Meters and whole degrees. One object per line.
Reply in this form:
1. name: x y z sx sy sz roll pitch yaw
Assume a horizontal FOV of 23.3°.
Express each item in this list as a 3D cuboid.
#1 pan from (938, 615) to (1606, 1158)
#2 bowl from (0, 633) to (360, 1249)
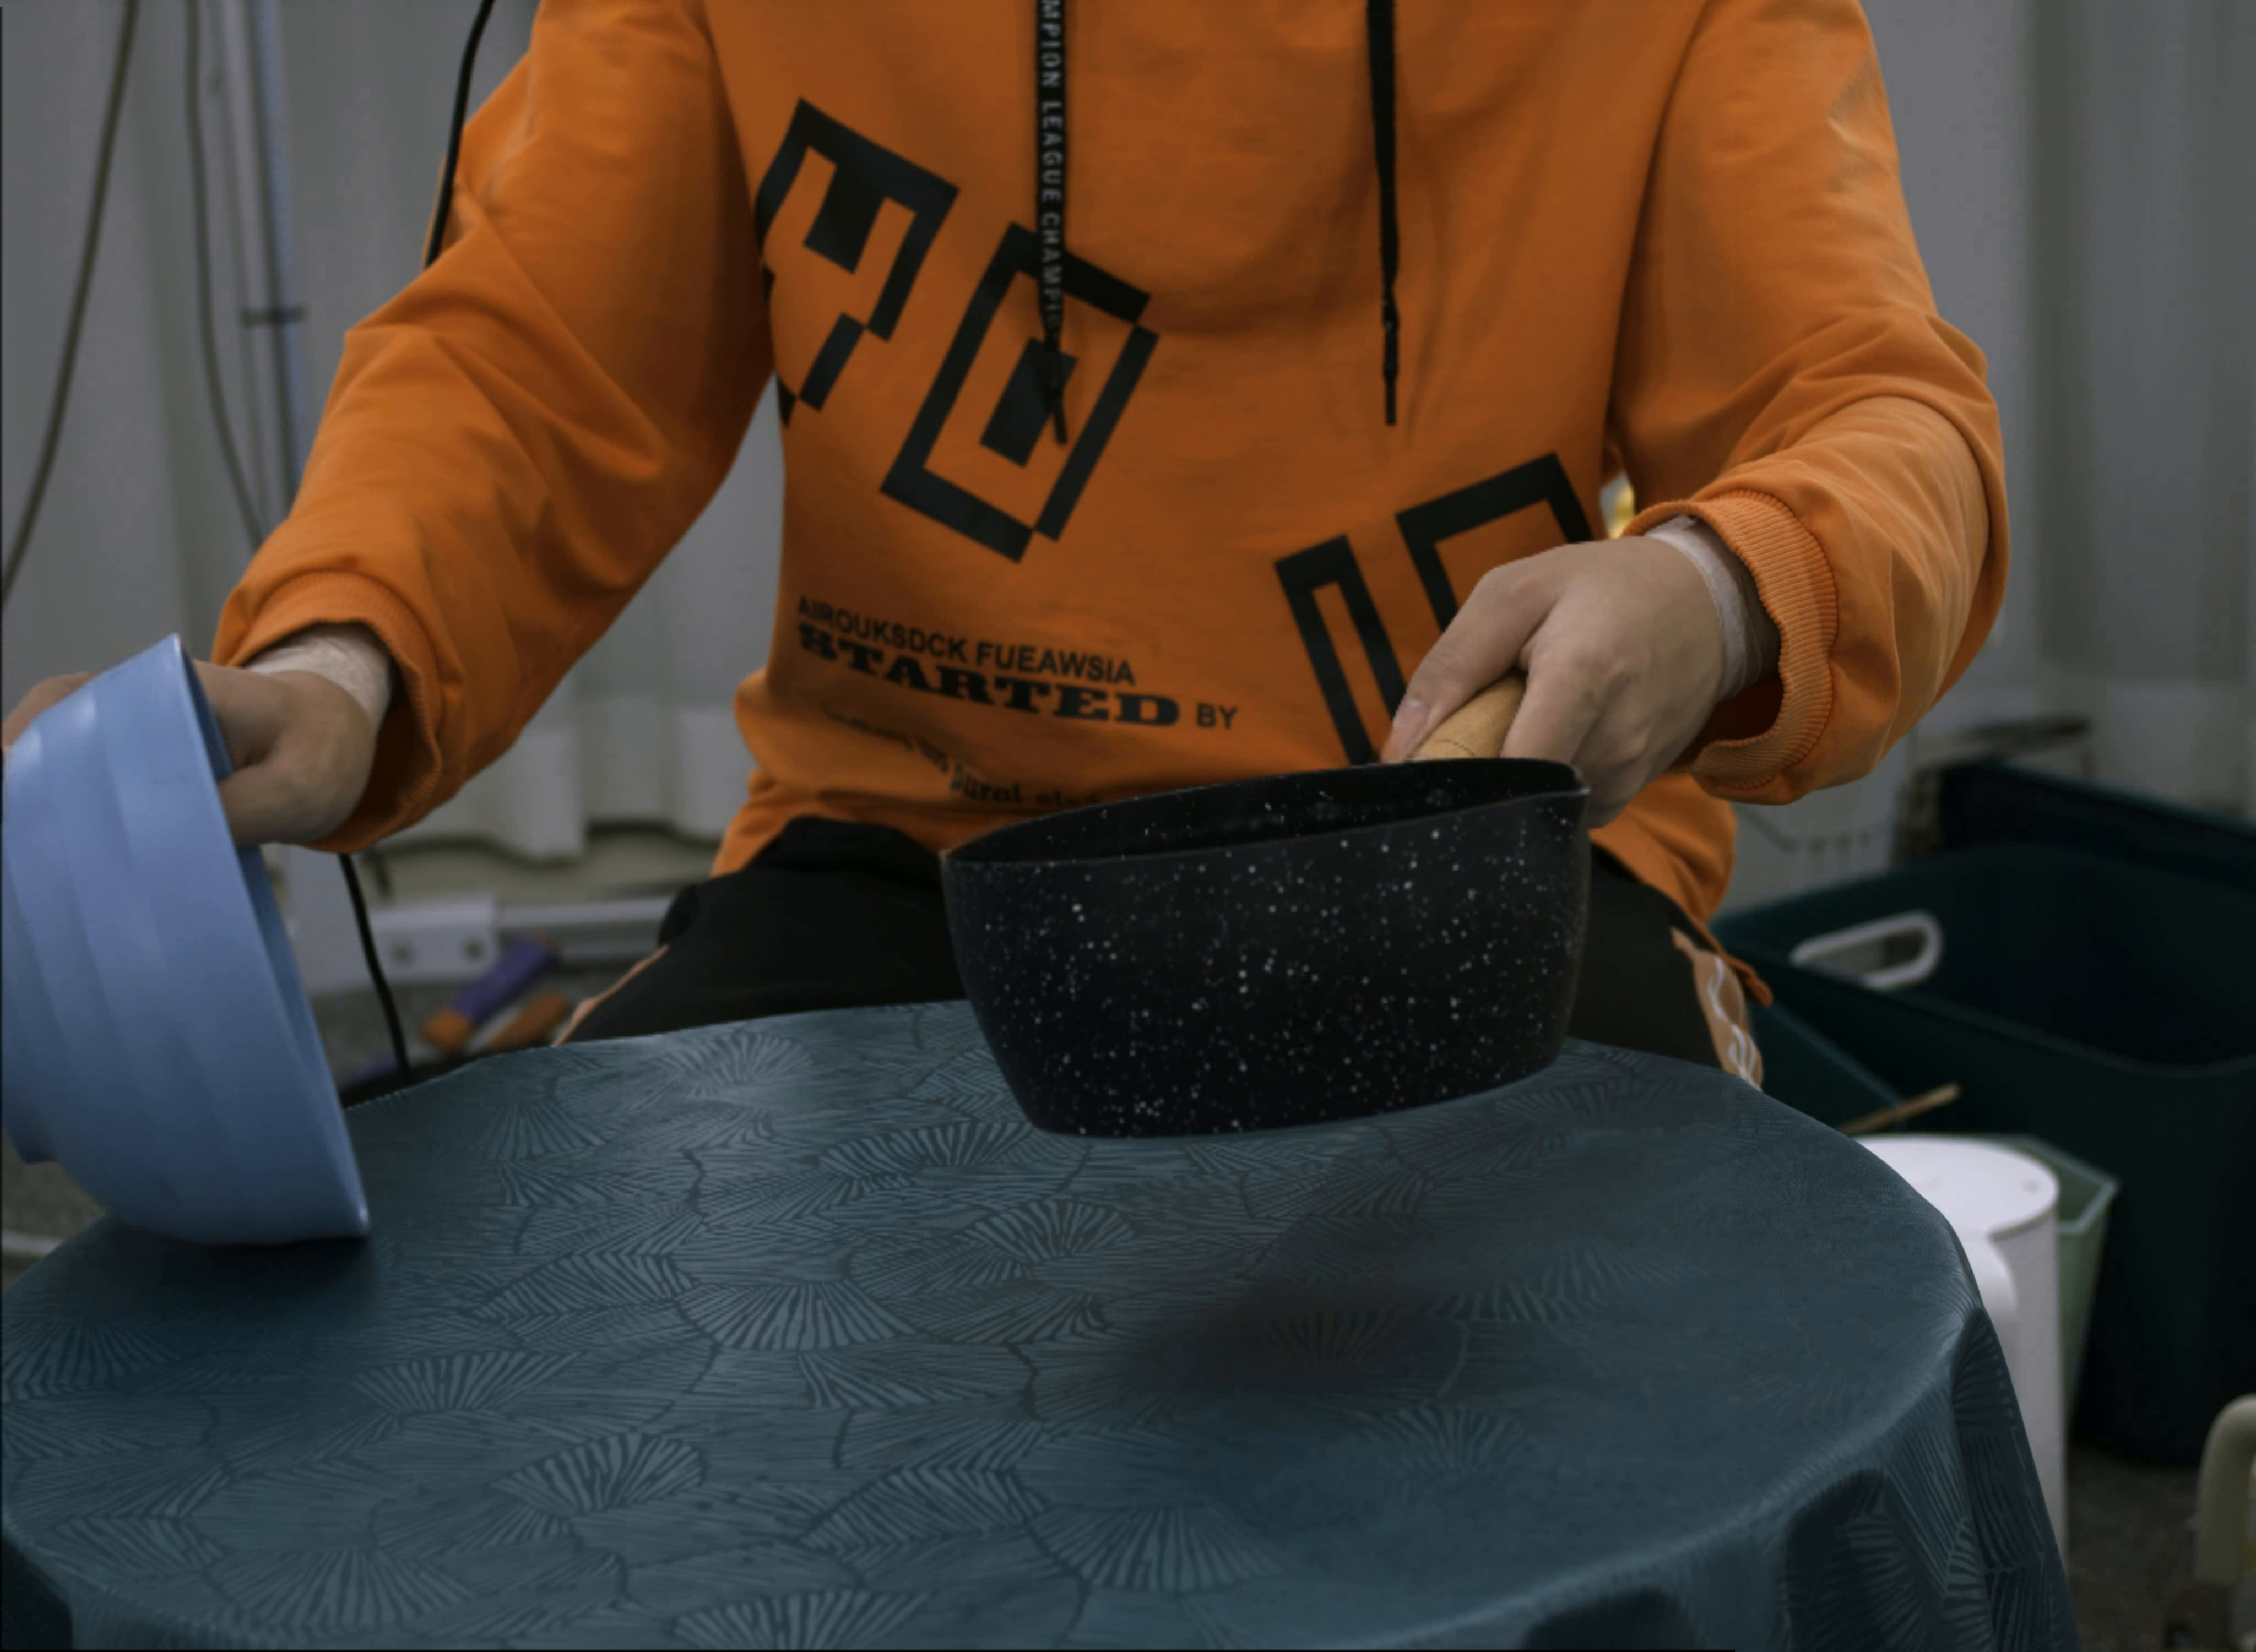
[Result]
1. pan: 0.074 0.013 1.626 0.207 0.108 0.343 -6 7 25
2. bowl: -0.311 0.048 1.692 0.095 0.195 0.198 -17 17 -6
